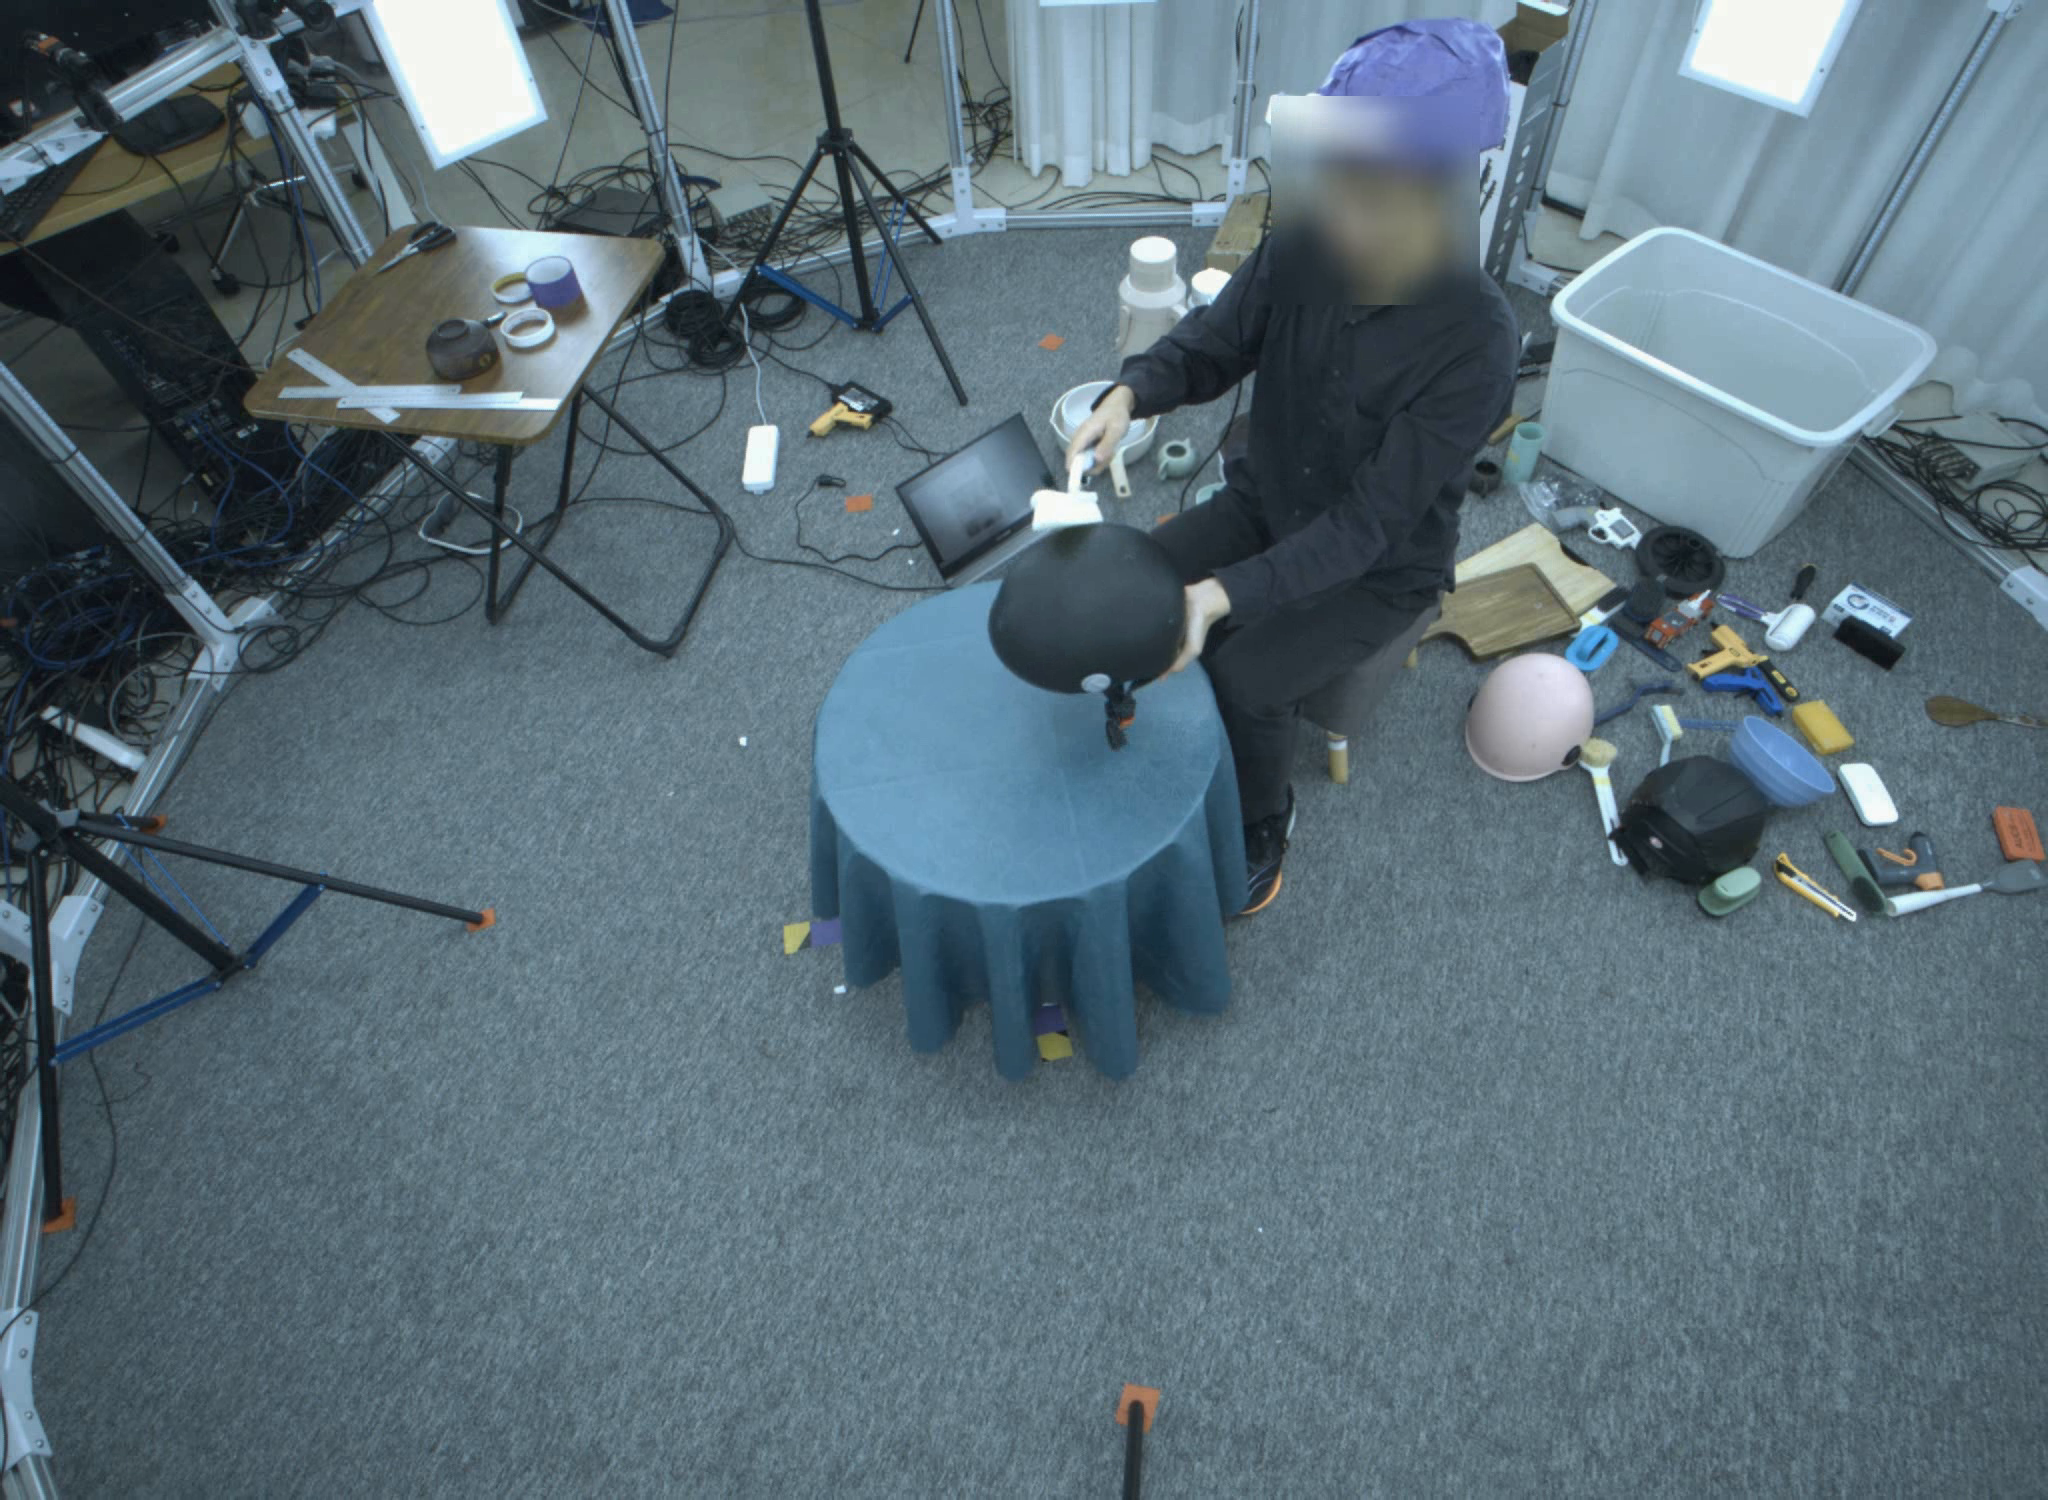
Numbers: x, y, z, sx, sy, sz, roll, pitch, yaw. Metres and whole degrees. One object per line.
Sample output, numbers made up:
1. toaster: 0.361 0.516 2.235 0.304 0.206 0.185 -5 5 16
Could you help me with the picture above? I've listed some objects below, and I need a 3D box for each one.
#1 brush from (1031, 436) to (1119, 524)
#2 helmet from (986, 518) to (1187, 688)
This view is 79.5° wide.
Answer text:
1. brush: 0.085 -0.351 1.656 0.083 0.084 0.327 31 31 5
2. helmet: 0.095 -0.207 1.610 0.277 0.167 0.226 -10 61 -21
